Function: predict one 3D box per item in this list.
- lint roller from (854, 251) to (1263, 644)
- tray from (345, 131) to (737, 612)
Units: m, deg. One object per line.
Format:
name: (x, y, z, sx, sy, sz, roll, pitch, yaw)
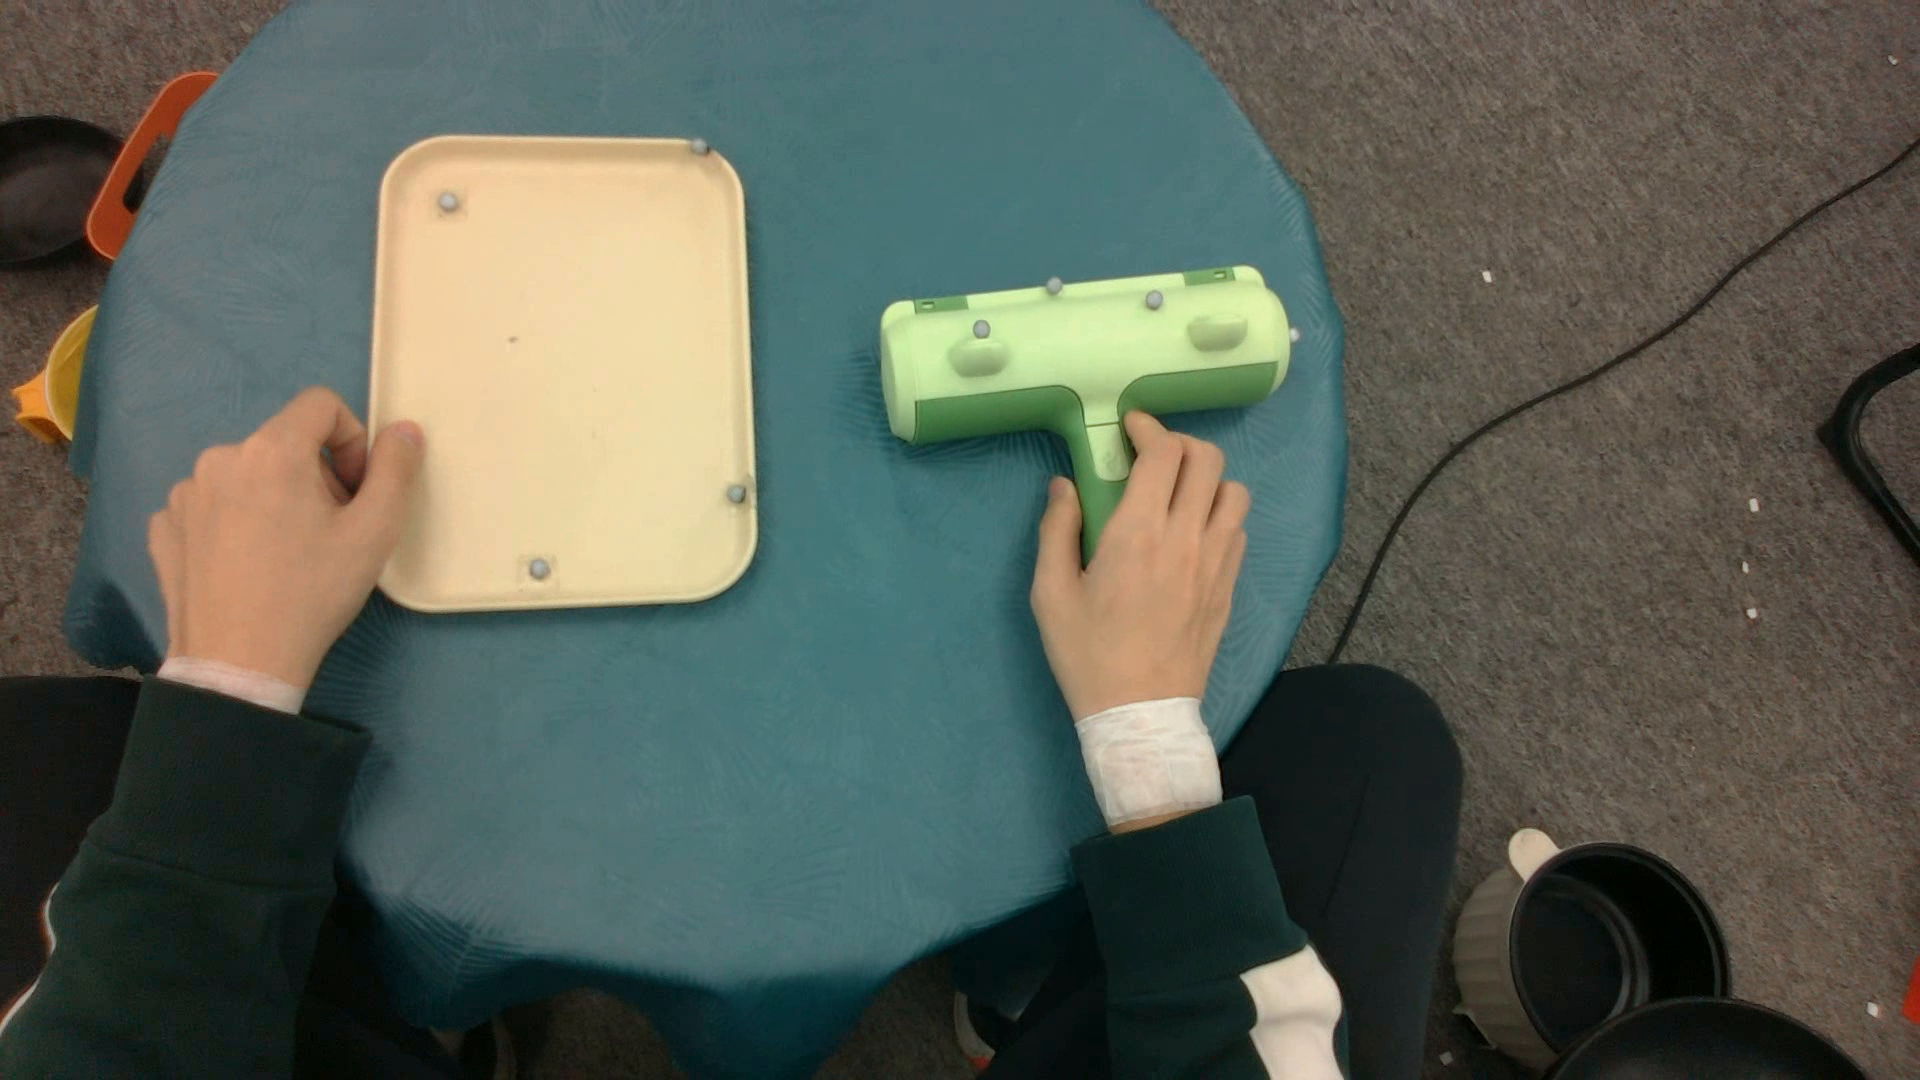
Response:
lint roller: (0.061, -0.048, 0.644, 0.199, 0.082, 0.184, -8, 69, -12)
tray: (-0.197, -0.084, 0.648, 0.171, 0.017, 0.240, -4, 72, -9)
